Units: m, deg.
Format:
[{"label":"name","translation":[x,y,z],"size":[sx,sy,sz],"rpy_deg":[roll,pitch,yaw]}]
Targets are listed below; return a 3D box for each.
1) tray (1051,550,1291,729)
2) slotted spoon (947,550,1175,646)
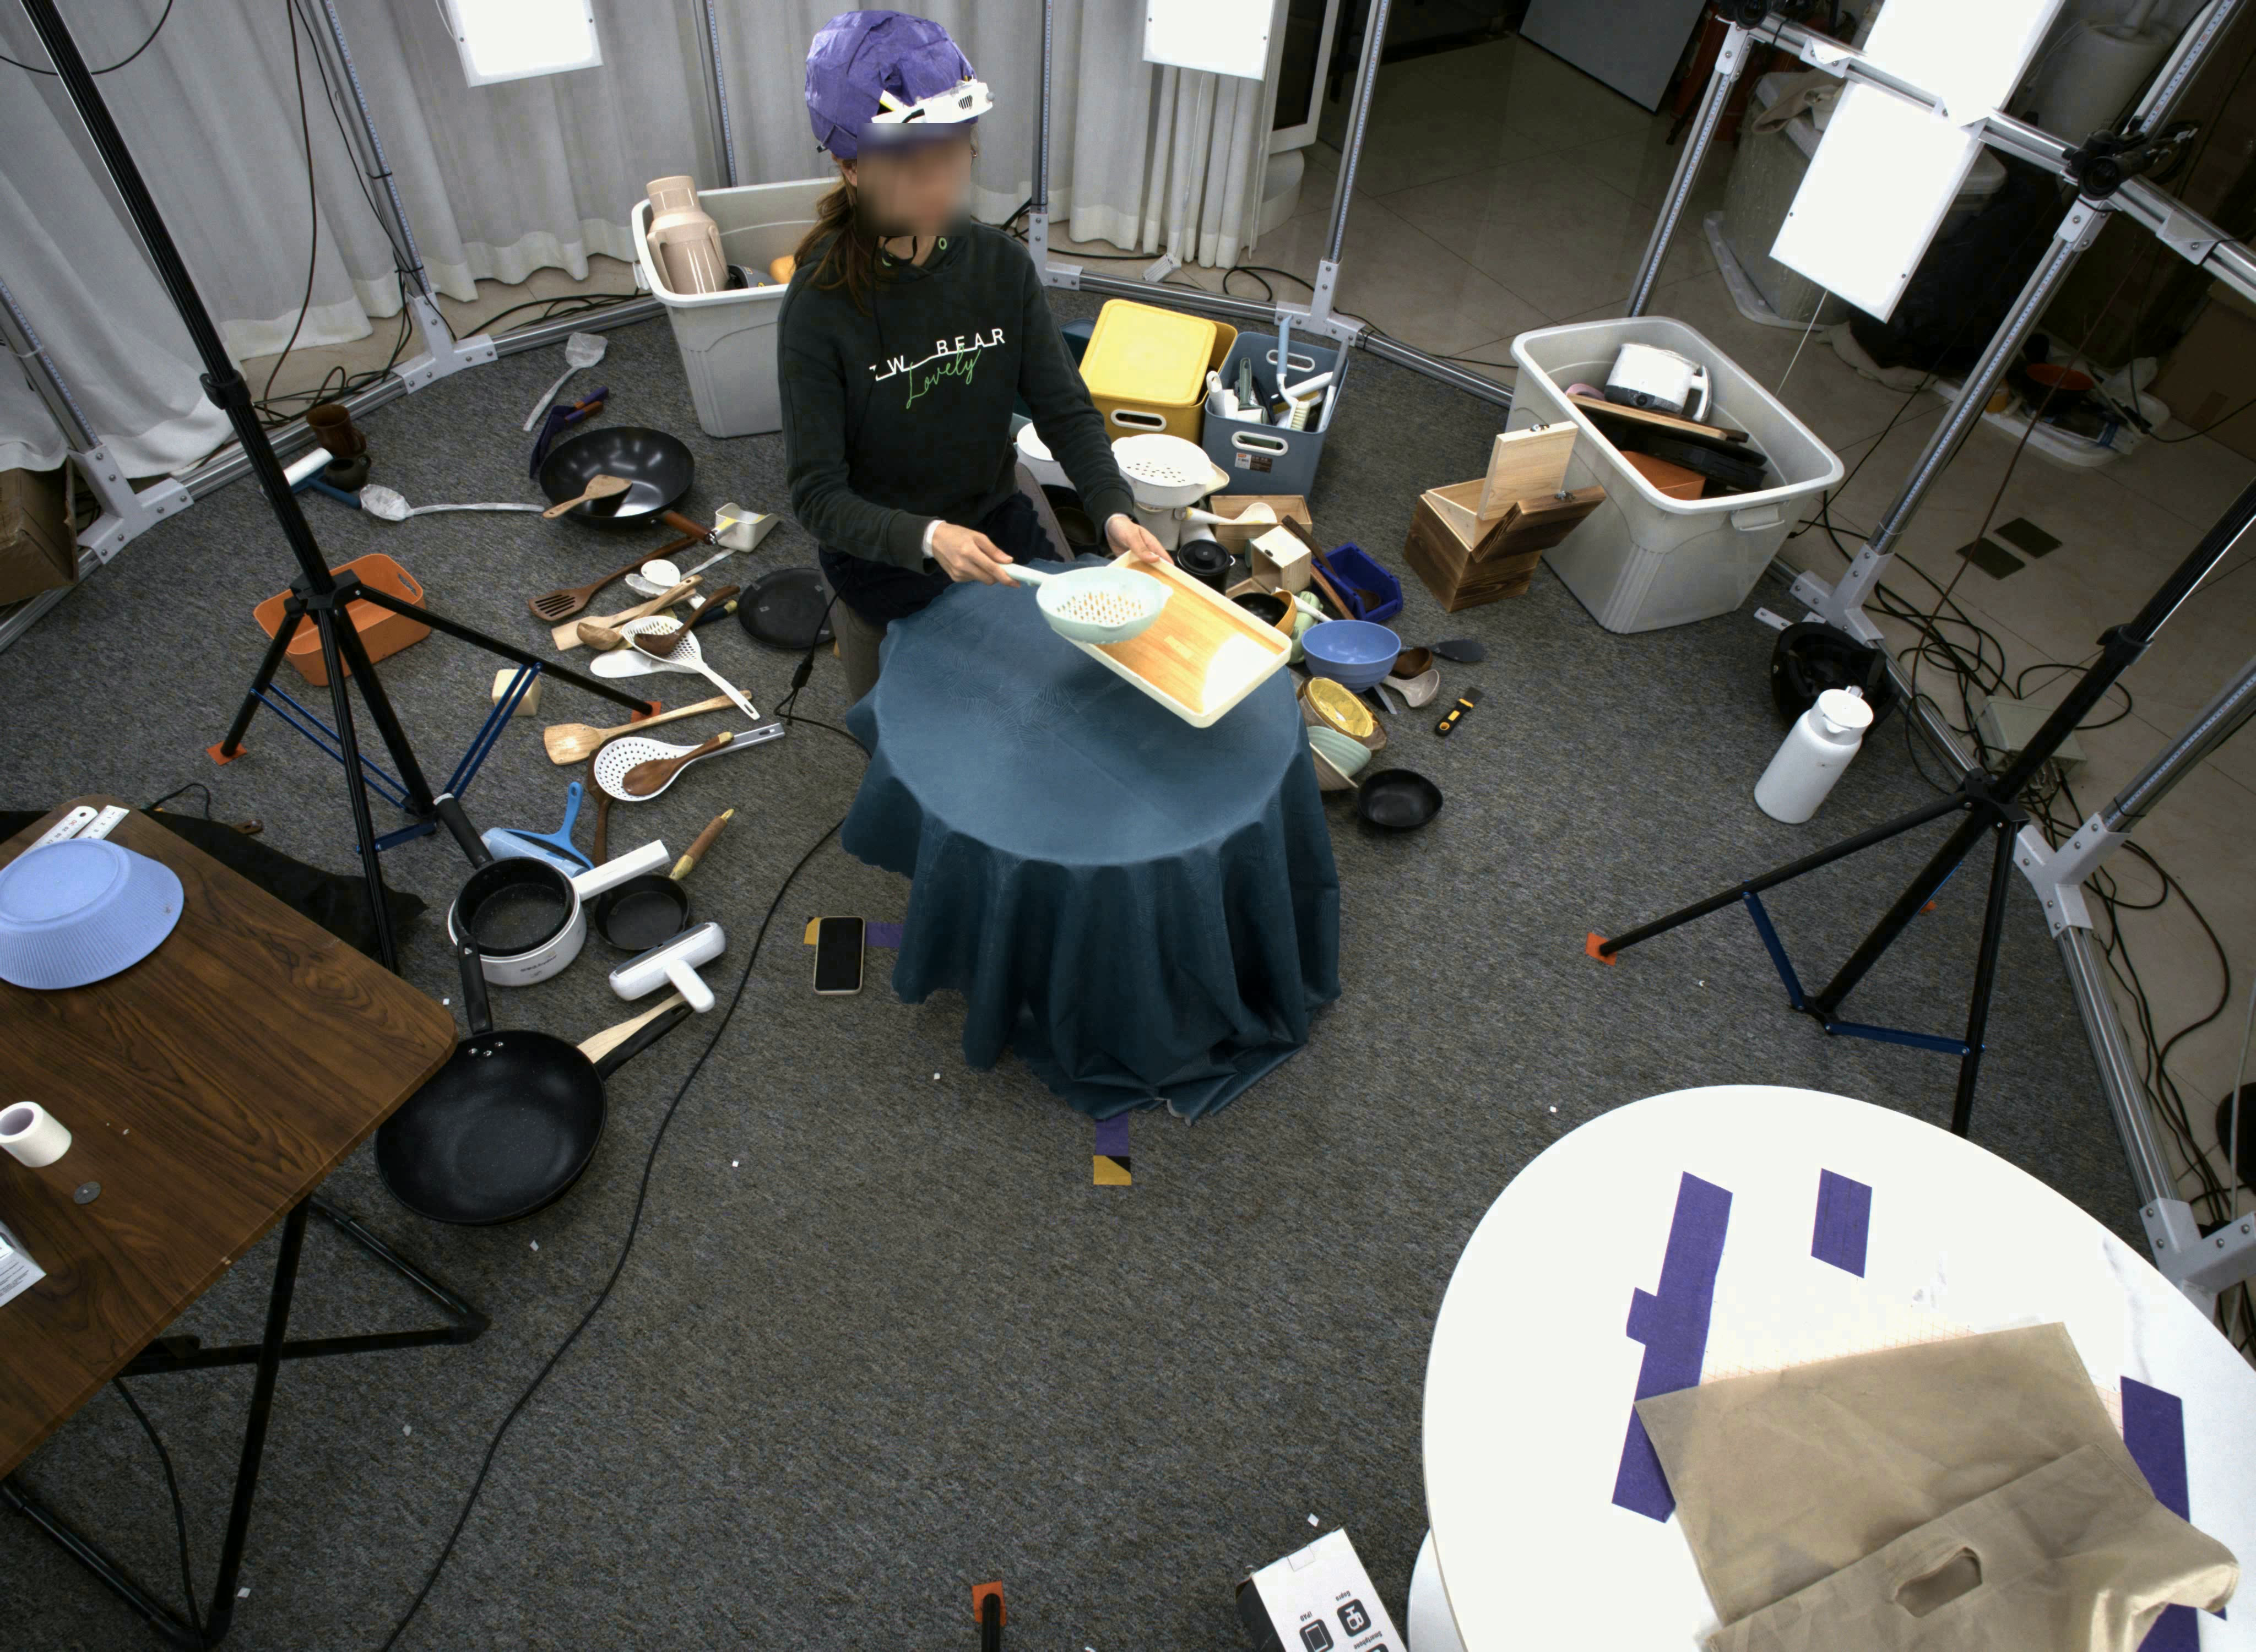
[{"label":"tray","translation":[0.056,-0.263,1.771],"size":[0.193,0.027,0.305],"rpy_deg":[-39,59,-24]},{"label":"slotted spoon","translation":[-0.109,-0.326,1.749],"size":[0.363,0.073,0.171],"rpy_deg":[29,41,25]}]
